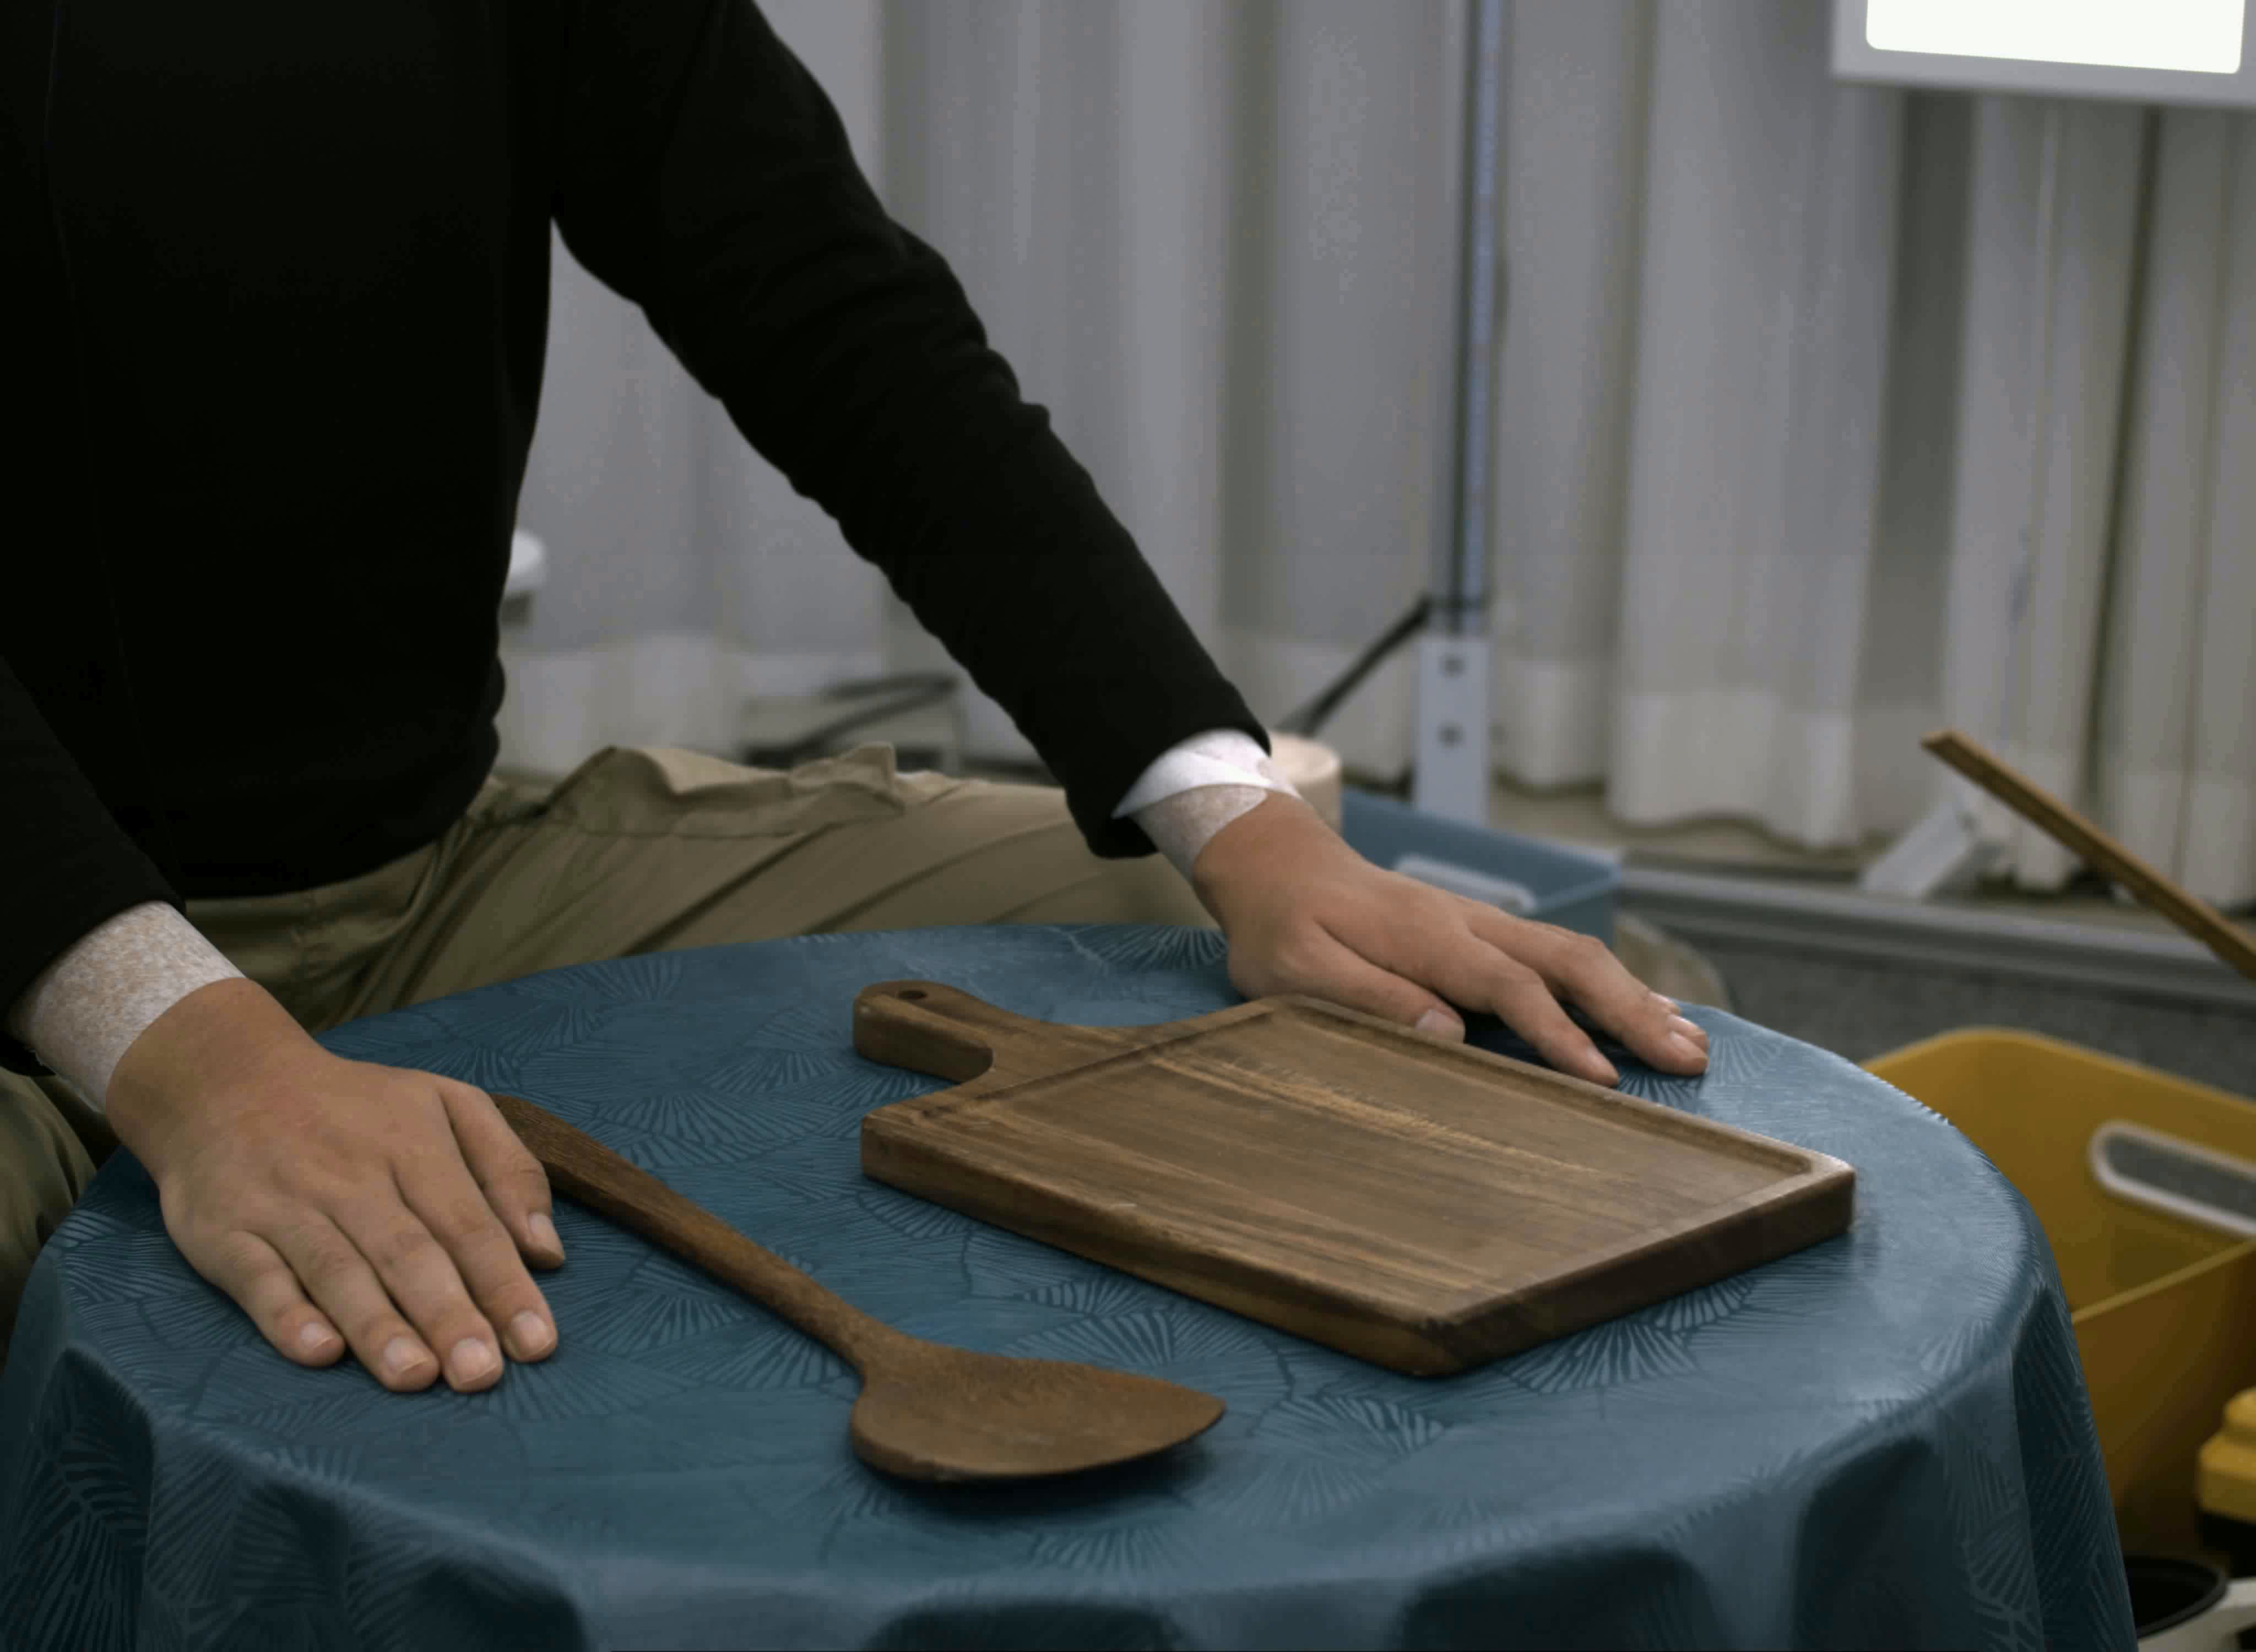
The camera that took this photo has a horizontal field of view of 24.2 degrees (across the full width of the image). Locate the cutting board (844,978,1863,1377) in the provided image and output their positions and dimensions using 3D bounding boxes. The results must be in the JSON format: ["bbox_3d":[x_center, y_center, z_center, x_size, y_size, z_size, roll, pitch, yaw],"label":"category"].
[{"bbox_3d":[0.035,0.095,1.645,0.202,0.023,0.347,-14,21,-43],"label":"cutting board"}]

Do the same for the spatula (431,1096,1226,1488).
[{"bbox_3d":[-0.110,0.129,1.530,0.096,0.016,0.381,-9,18,-33],"label":"spatula"}]
